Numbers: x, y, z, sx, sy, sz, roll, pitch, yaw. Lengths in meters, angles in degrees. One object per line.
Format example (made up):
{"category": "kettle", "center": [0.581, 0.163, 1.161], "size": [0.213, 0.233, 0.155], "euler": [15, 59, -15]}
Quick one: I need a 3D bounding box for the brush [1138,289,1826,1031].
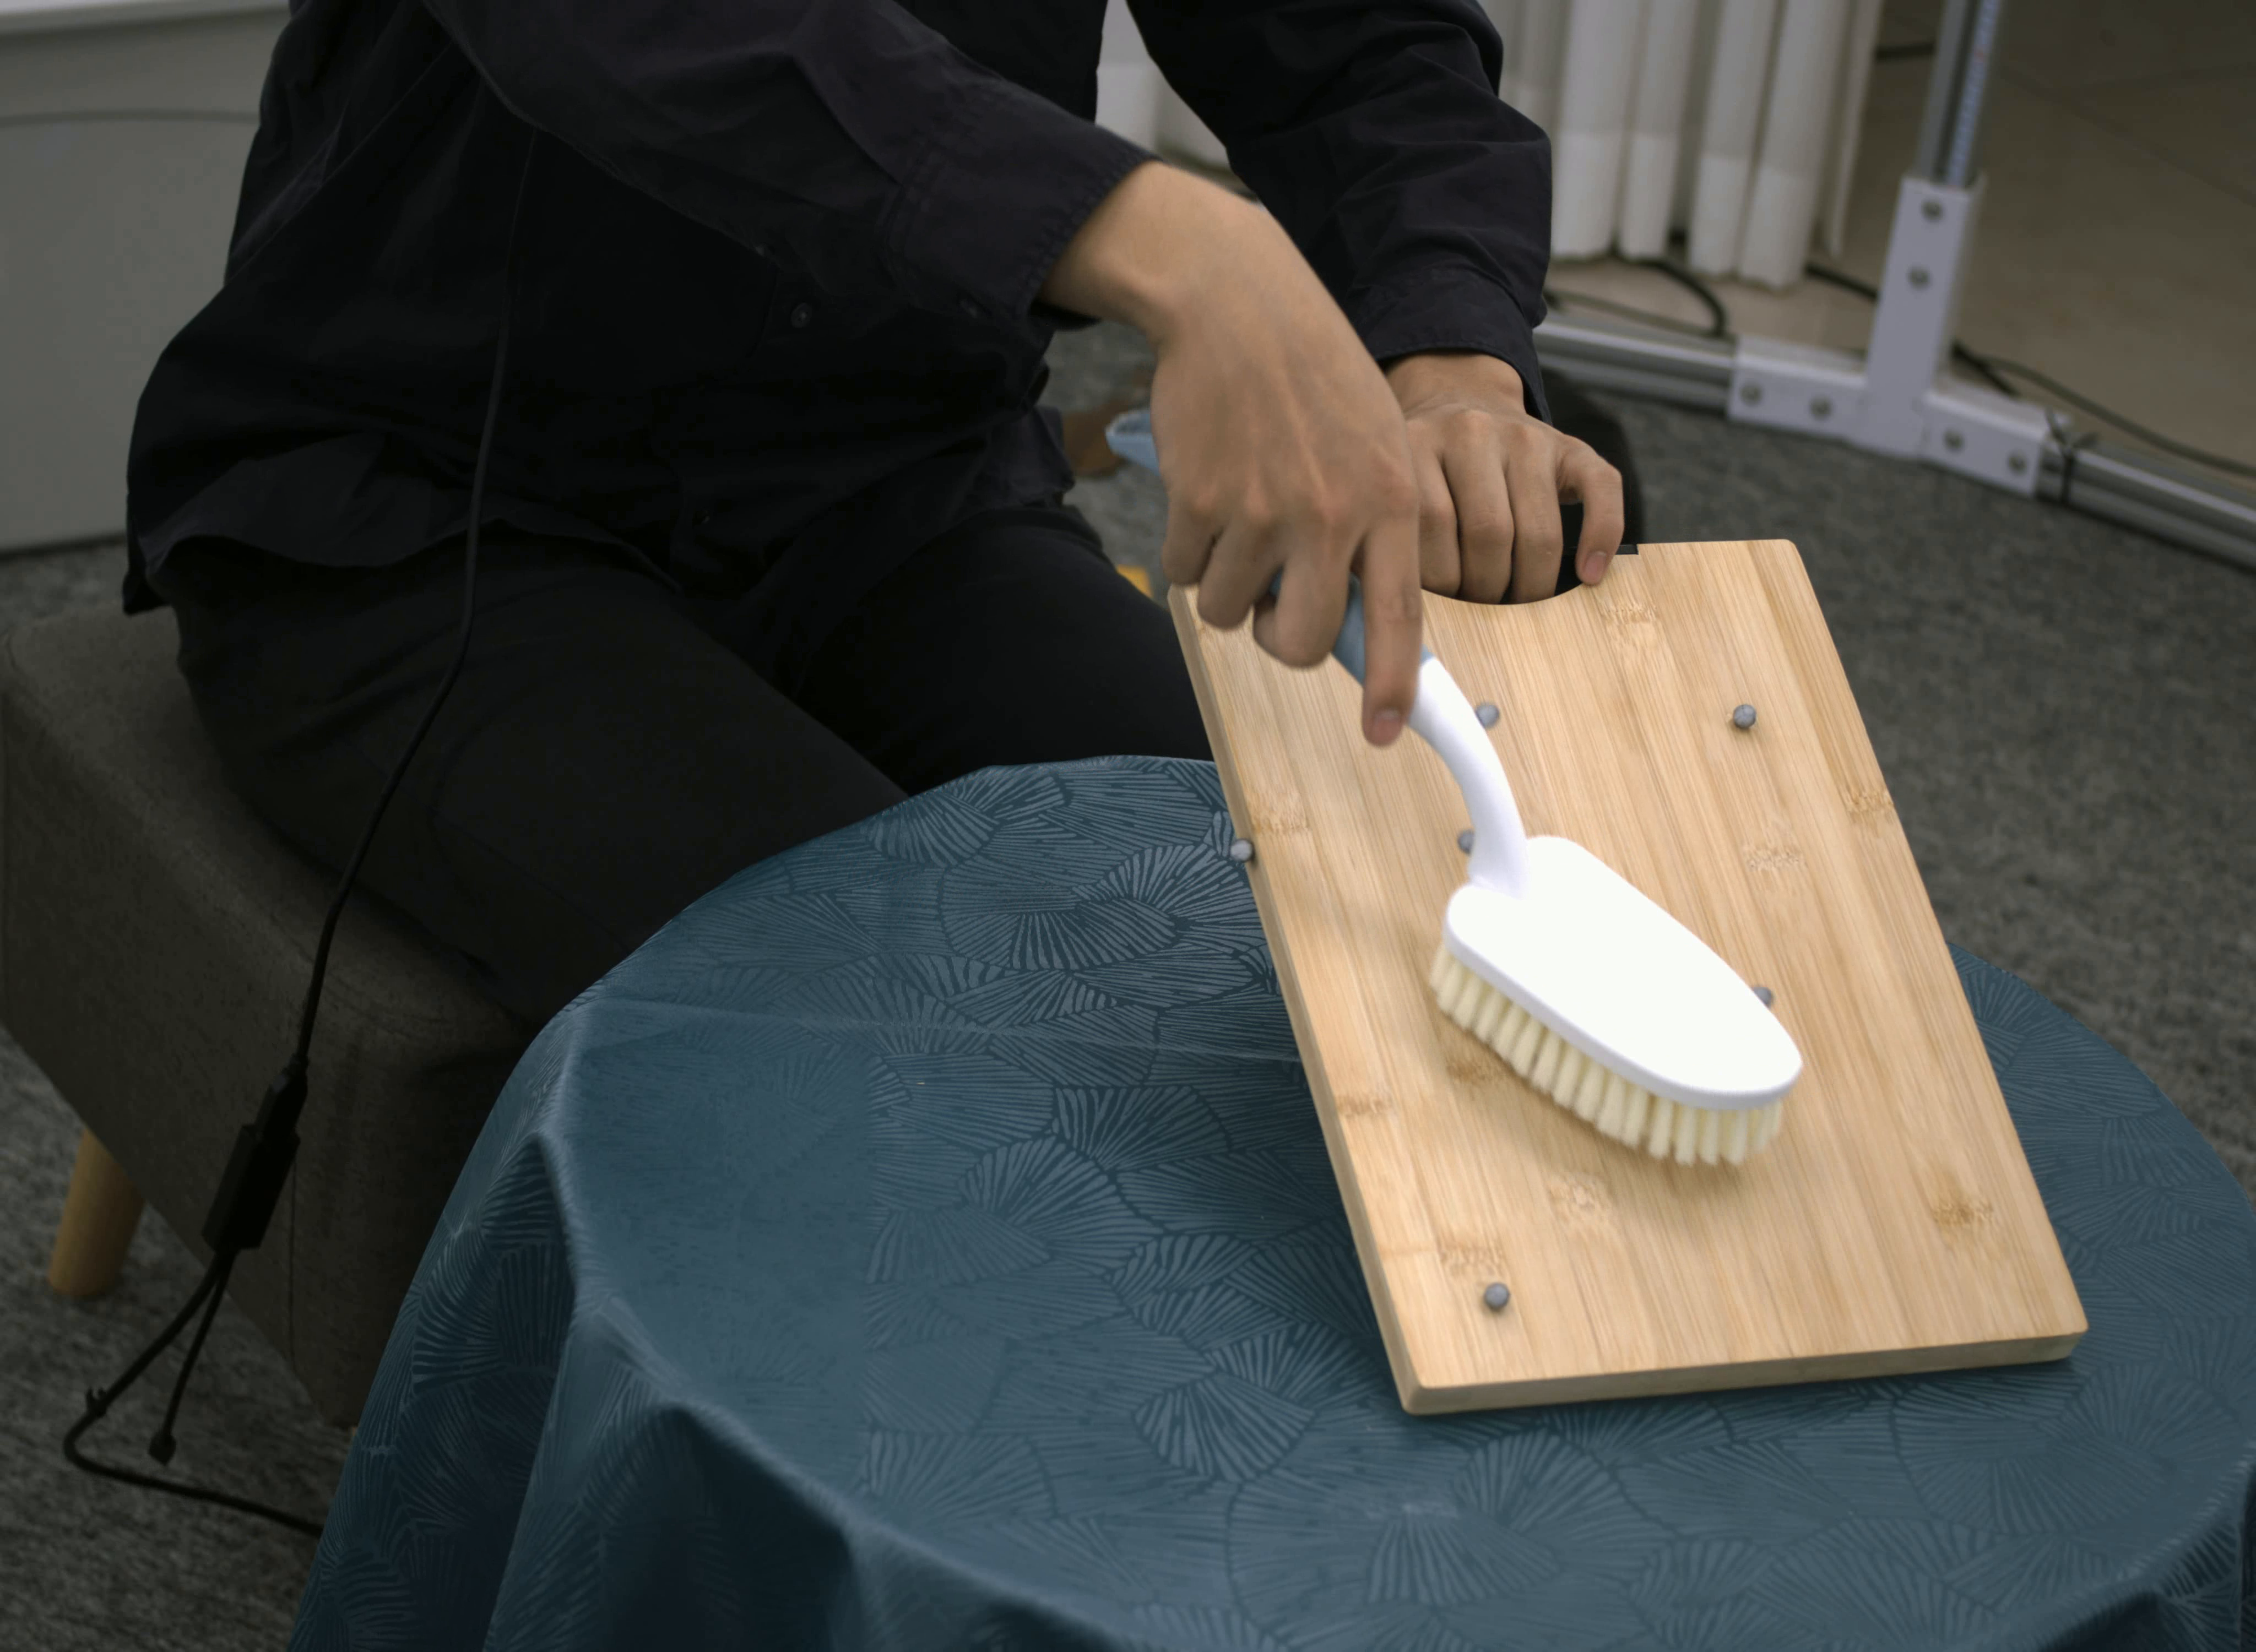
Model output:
{"category": "brush", "center": [0.110, -0.051, 1.808], "size": [0.327, 0.084, 0.083], "euler": [46, 14, 12]}

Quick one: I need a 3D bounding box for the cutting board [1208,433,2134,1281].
{"category": "cutting board", "center": [0.182, 0.004, 1.845], "size": [0.249, 0.023, 0.352], "euler": [-4, 54, -19]}
